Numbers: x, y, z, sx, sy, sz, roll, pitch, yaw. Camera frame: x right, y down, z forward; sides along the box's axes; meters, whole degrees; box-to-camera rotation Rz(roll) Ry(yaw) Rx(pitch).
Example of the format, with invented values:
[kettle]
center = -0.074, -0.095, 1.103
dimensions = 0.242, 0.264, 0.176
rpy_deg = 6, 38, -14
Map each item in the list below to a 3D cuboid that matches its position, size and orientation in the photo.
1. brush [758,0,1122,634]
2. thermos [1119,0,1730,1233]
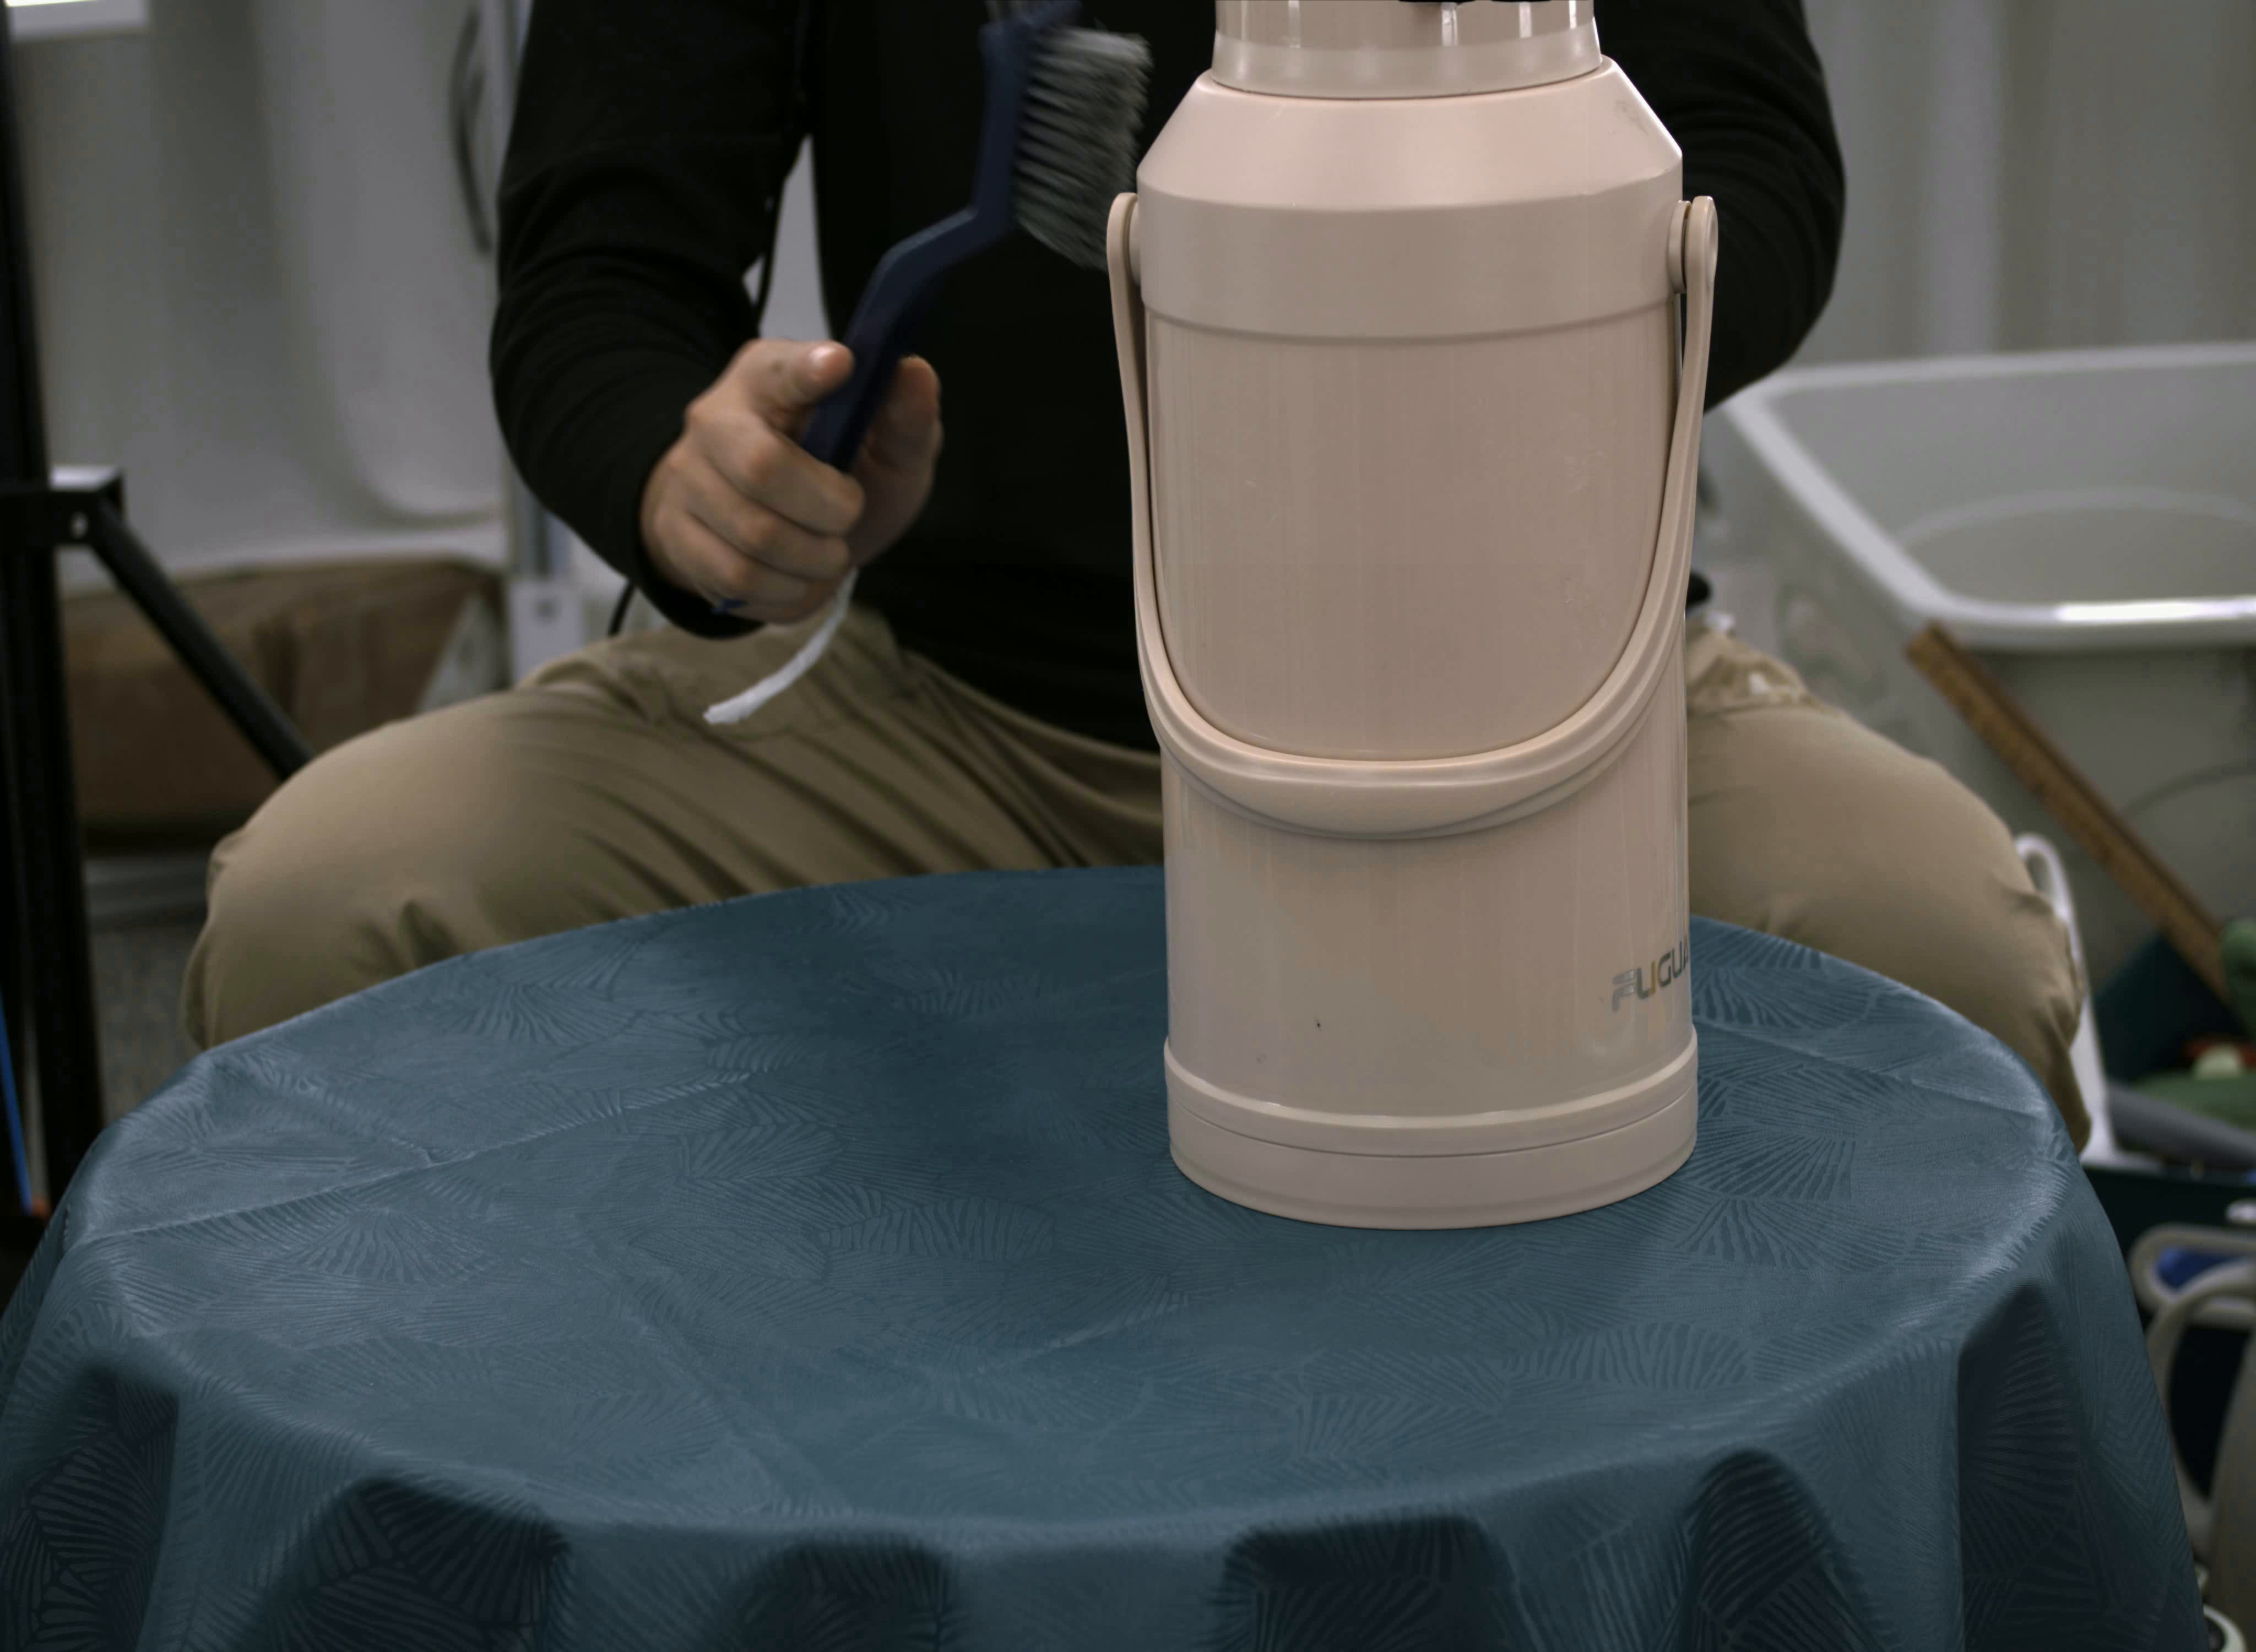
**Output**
[brush]
center = -0.072, -0.166, 1.665
dimensions = 0.096, 0.275, 0.033
rpy_deg = 46, 45, 7
[thermos]
center = 0.092, -0.100, 1.551
dimensions = 0.177, 0.406, 0.205
rpy_deg = 1, 15, 16
